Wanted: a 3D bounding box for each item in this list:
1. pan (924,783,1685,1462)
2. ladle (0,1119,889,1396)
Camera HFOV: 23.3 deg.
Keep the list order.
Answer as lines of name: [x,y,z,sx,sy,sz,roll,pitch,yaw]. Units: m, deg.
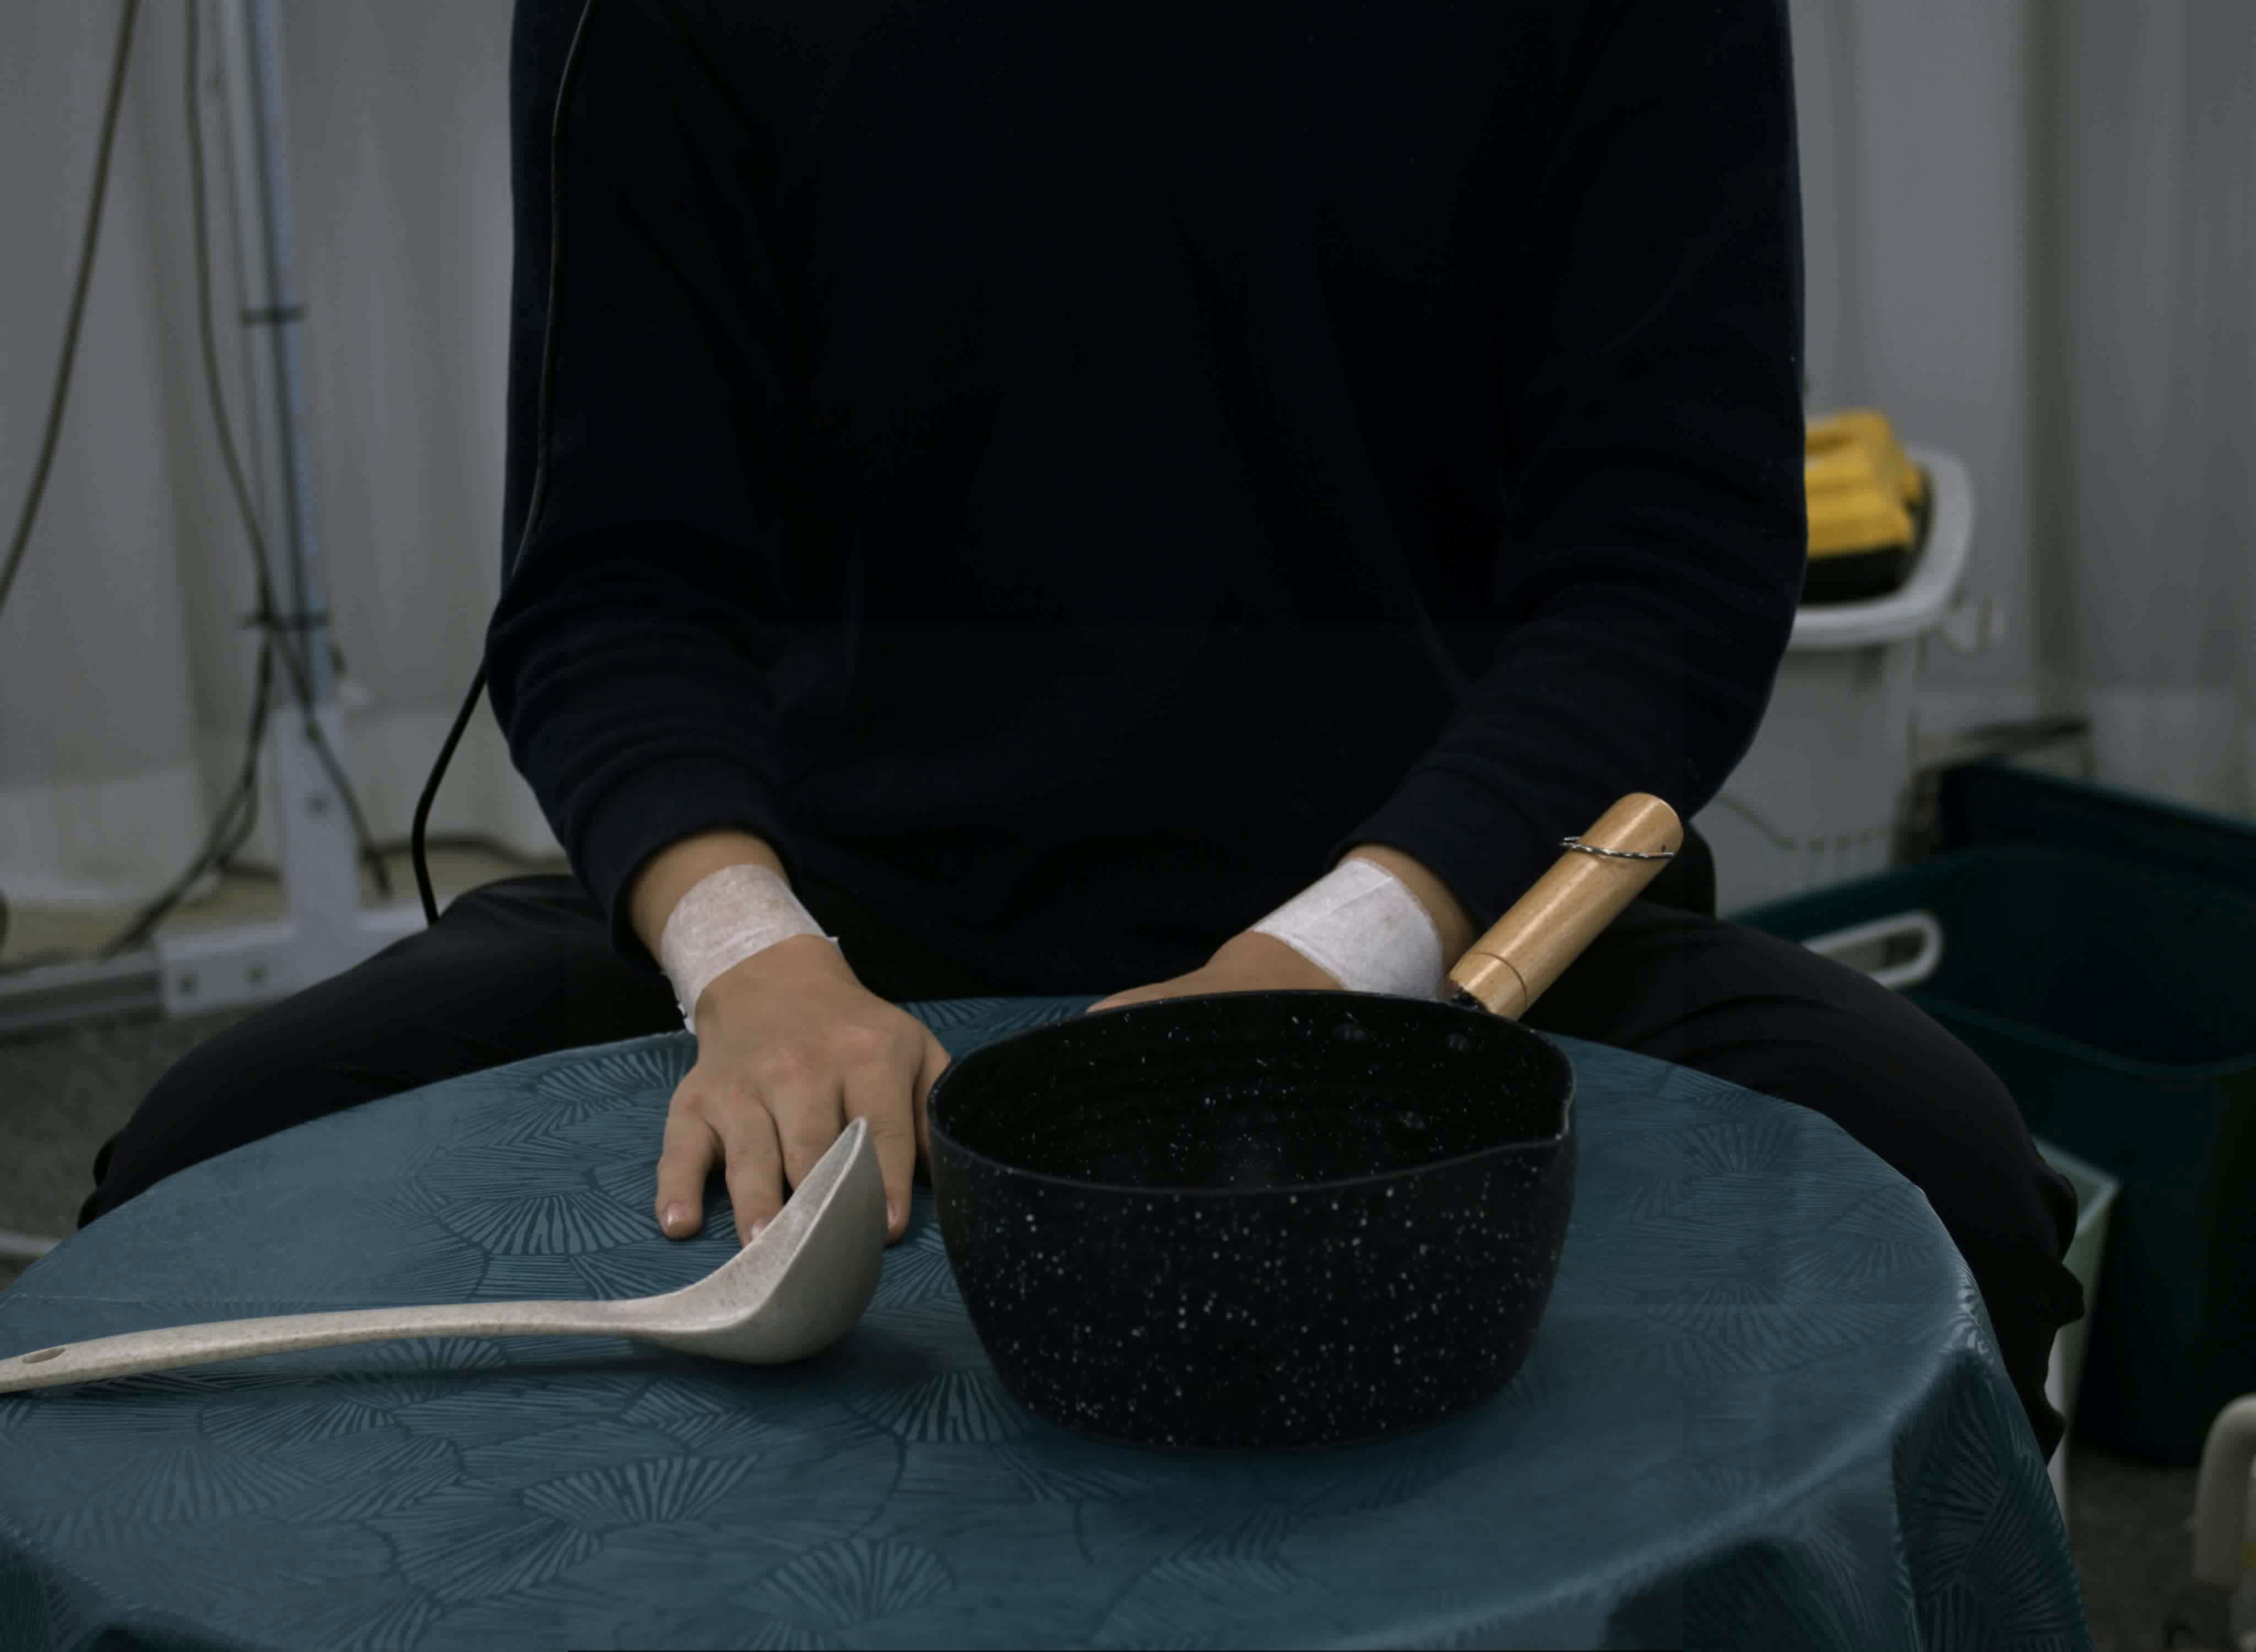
pan: [0.077,0.082,1.614,0.208,0.108,0.343,5,18,32]
ladle: [-0.205,0.126,1.581,0.274,0.069,0.090,-3,19,1]
